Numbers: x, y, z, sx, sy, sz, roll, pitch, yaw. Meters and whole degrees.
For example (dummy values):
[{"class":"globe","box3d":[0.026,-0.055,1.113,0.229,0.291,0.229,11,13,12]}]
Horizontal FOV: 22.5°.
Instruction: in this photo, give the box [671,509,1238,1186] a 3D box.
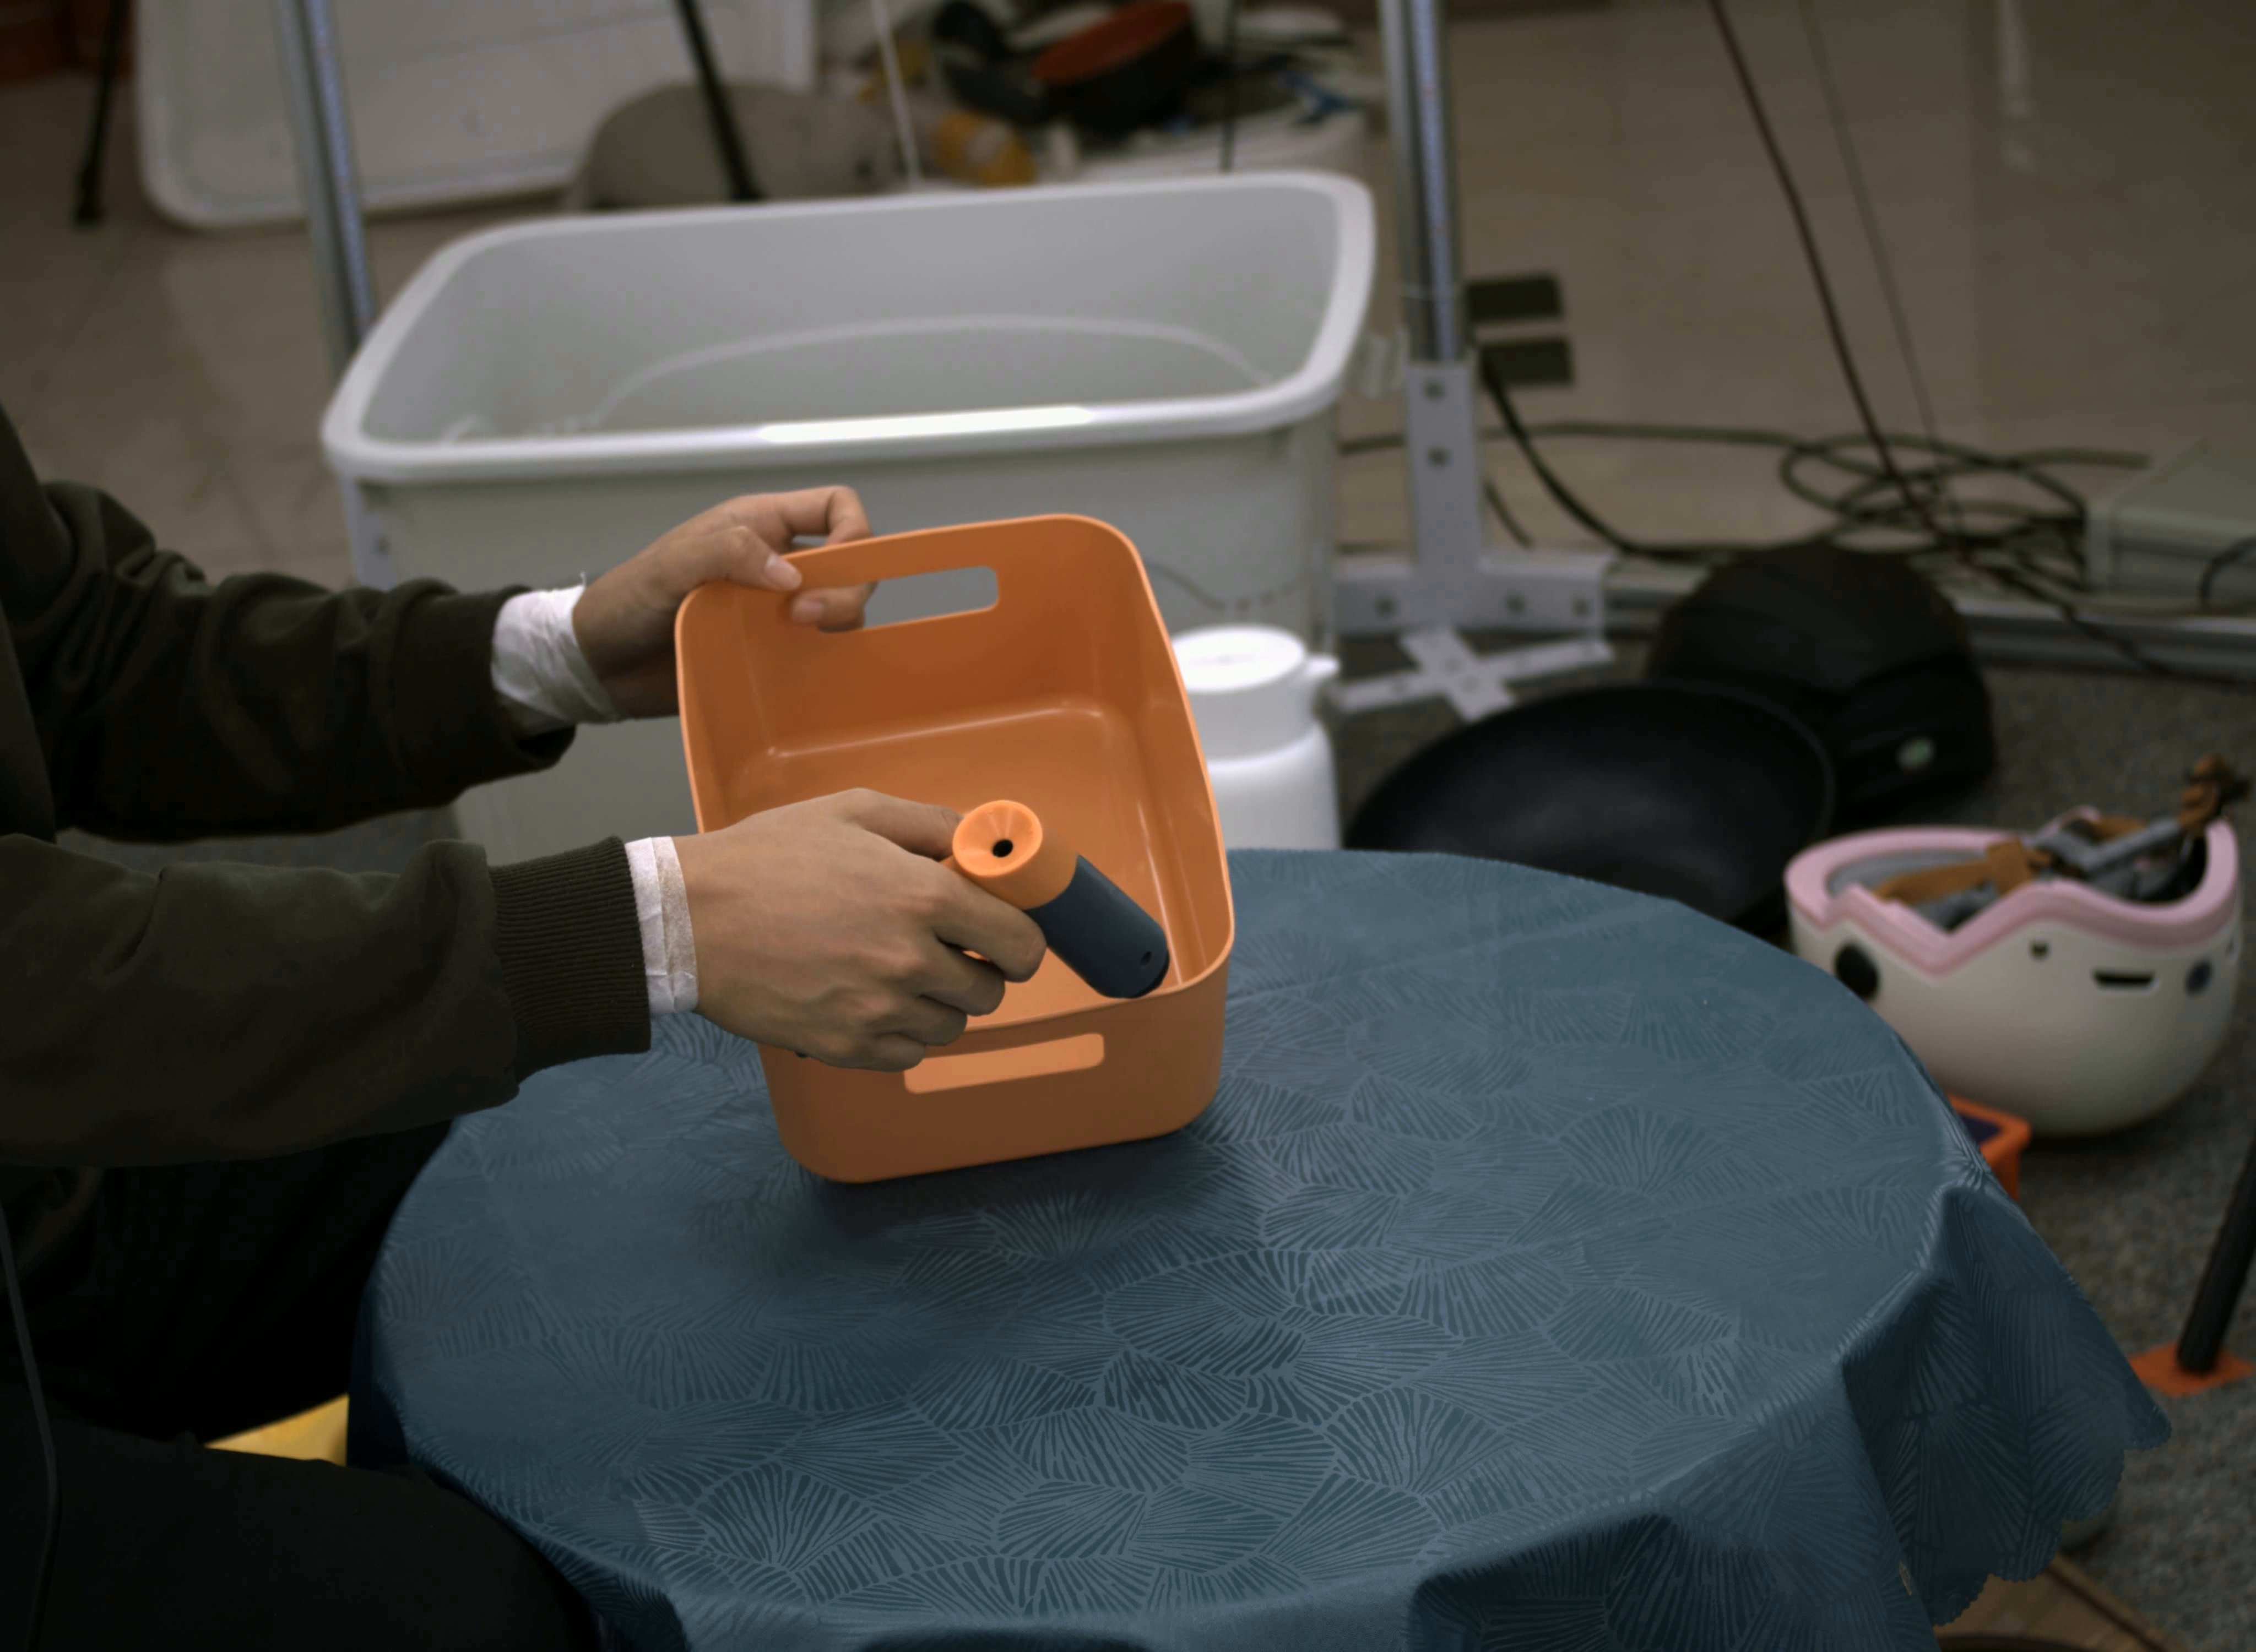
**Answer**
[{"class":"box","box3d":[-0.069,0.012,2.226,0.199,0.104,0.268,-10,48,-5]}]

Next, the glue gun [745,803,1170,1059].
[{"class":"glue gun","box3d":[-0.060,0.043,2.055,0.140,0.120,0.040,-13,55,7]}]
